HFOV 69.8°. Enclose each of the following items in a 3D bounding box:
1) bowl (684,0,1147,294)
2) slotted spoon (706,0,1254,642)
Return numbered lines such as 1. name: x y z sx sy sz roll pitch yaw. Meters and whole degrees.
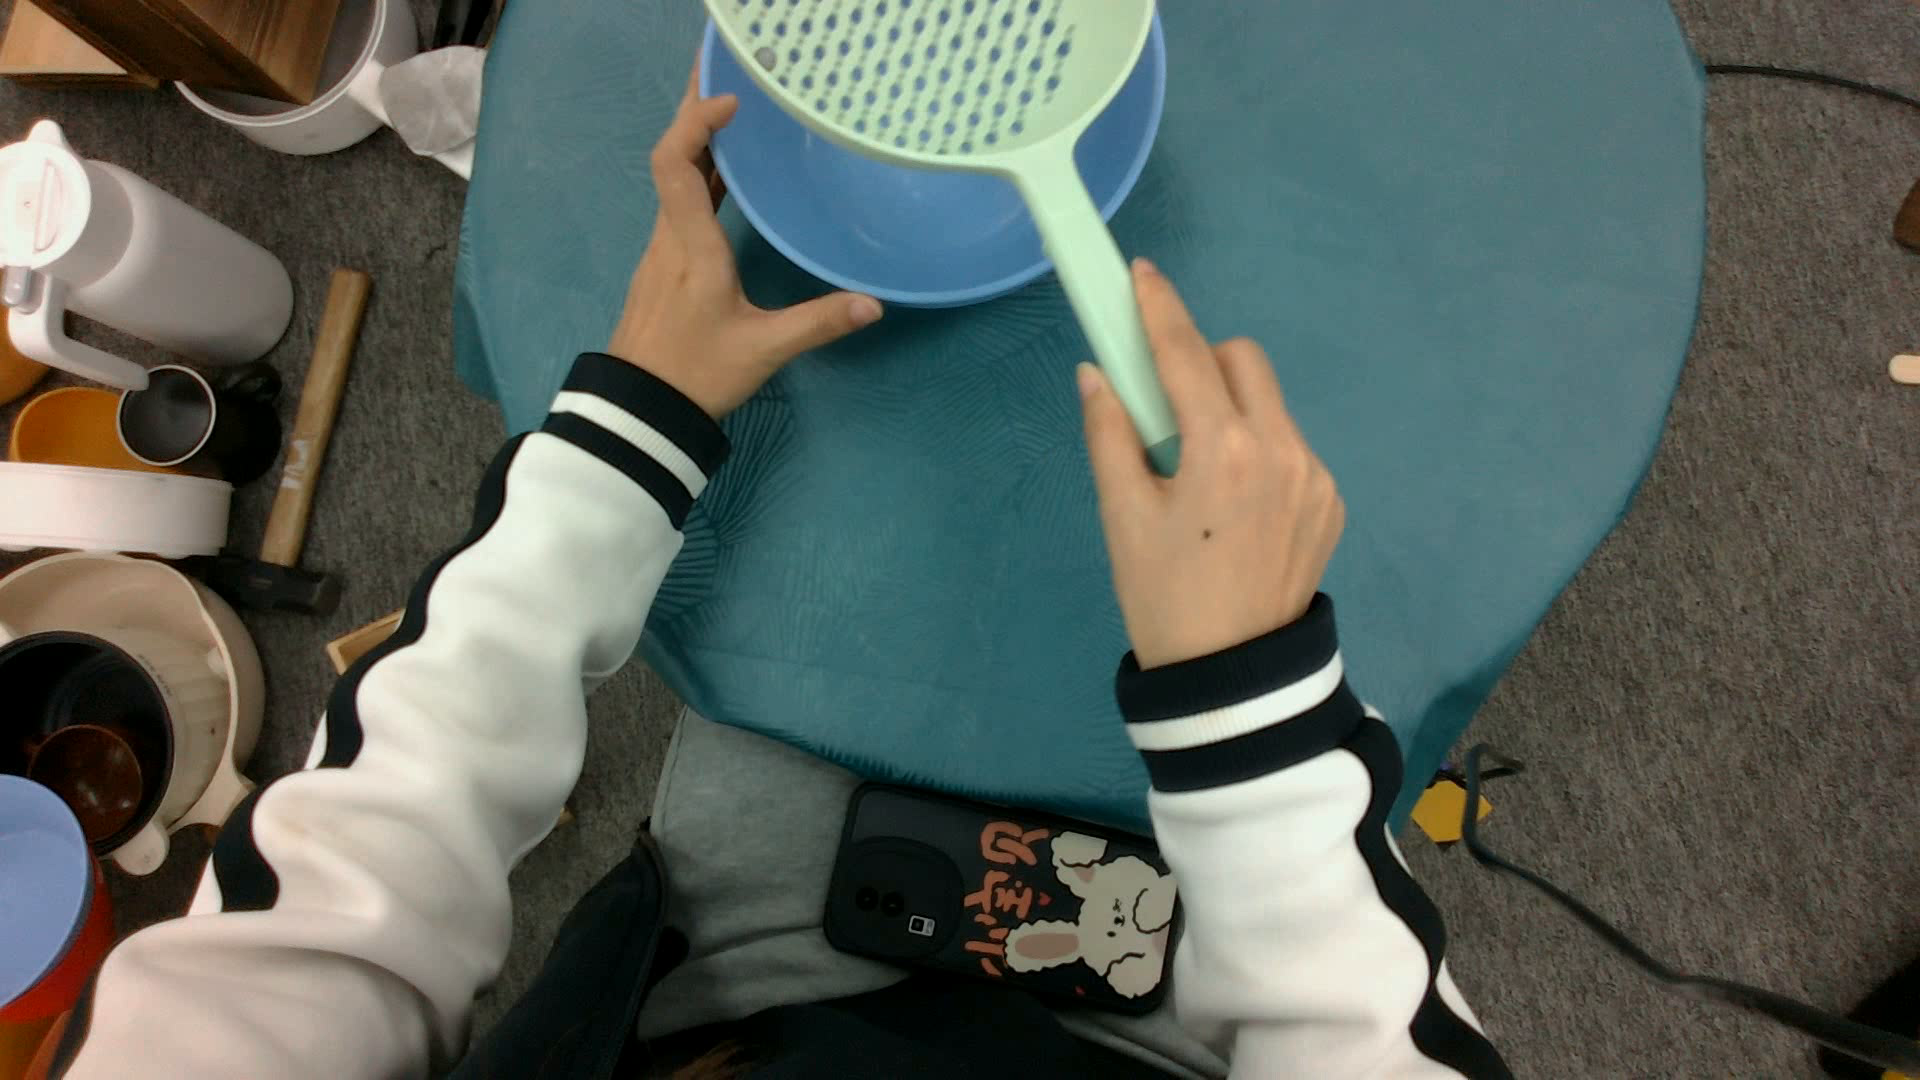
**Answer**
1. bowl: -0.018 -0.197 0.628 0.196 0.095 0.196 0 84 1
2. slotted spoon: 0.027 -0.130 0.497 0.169 0.075 0.359 -26 82 -13
